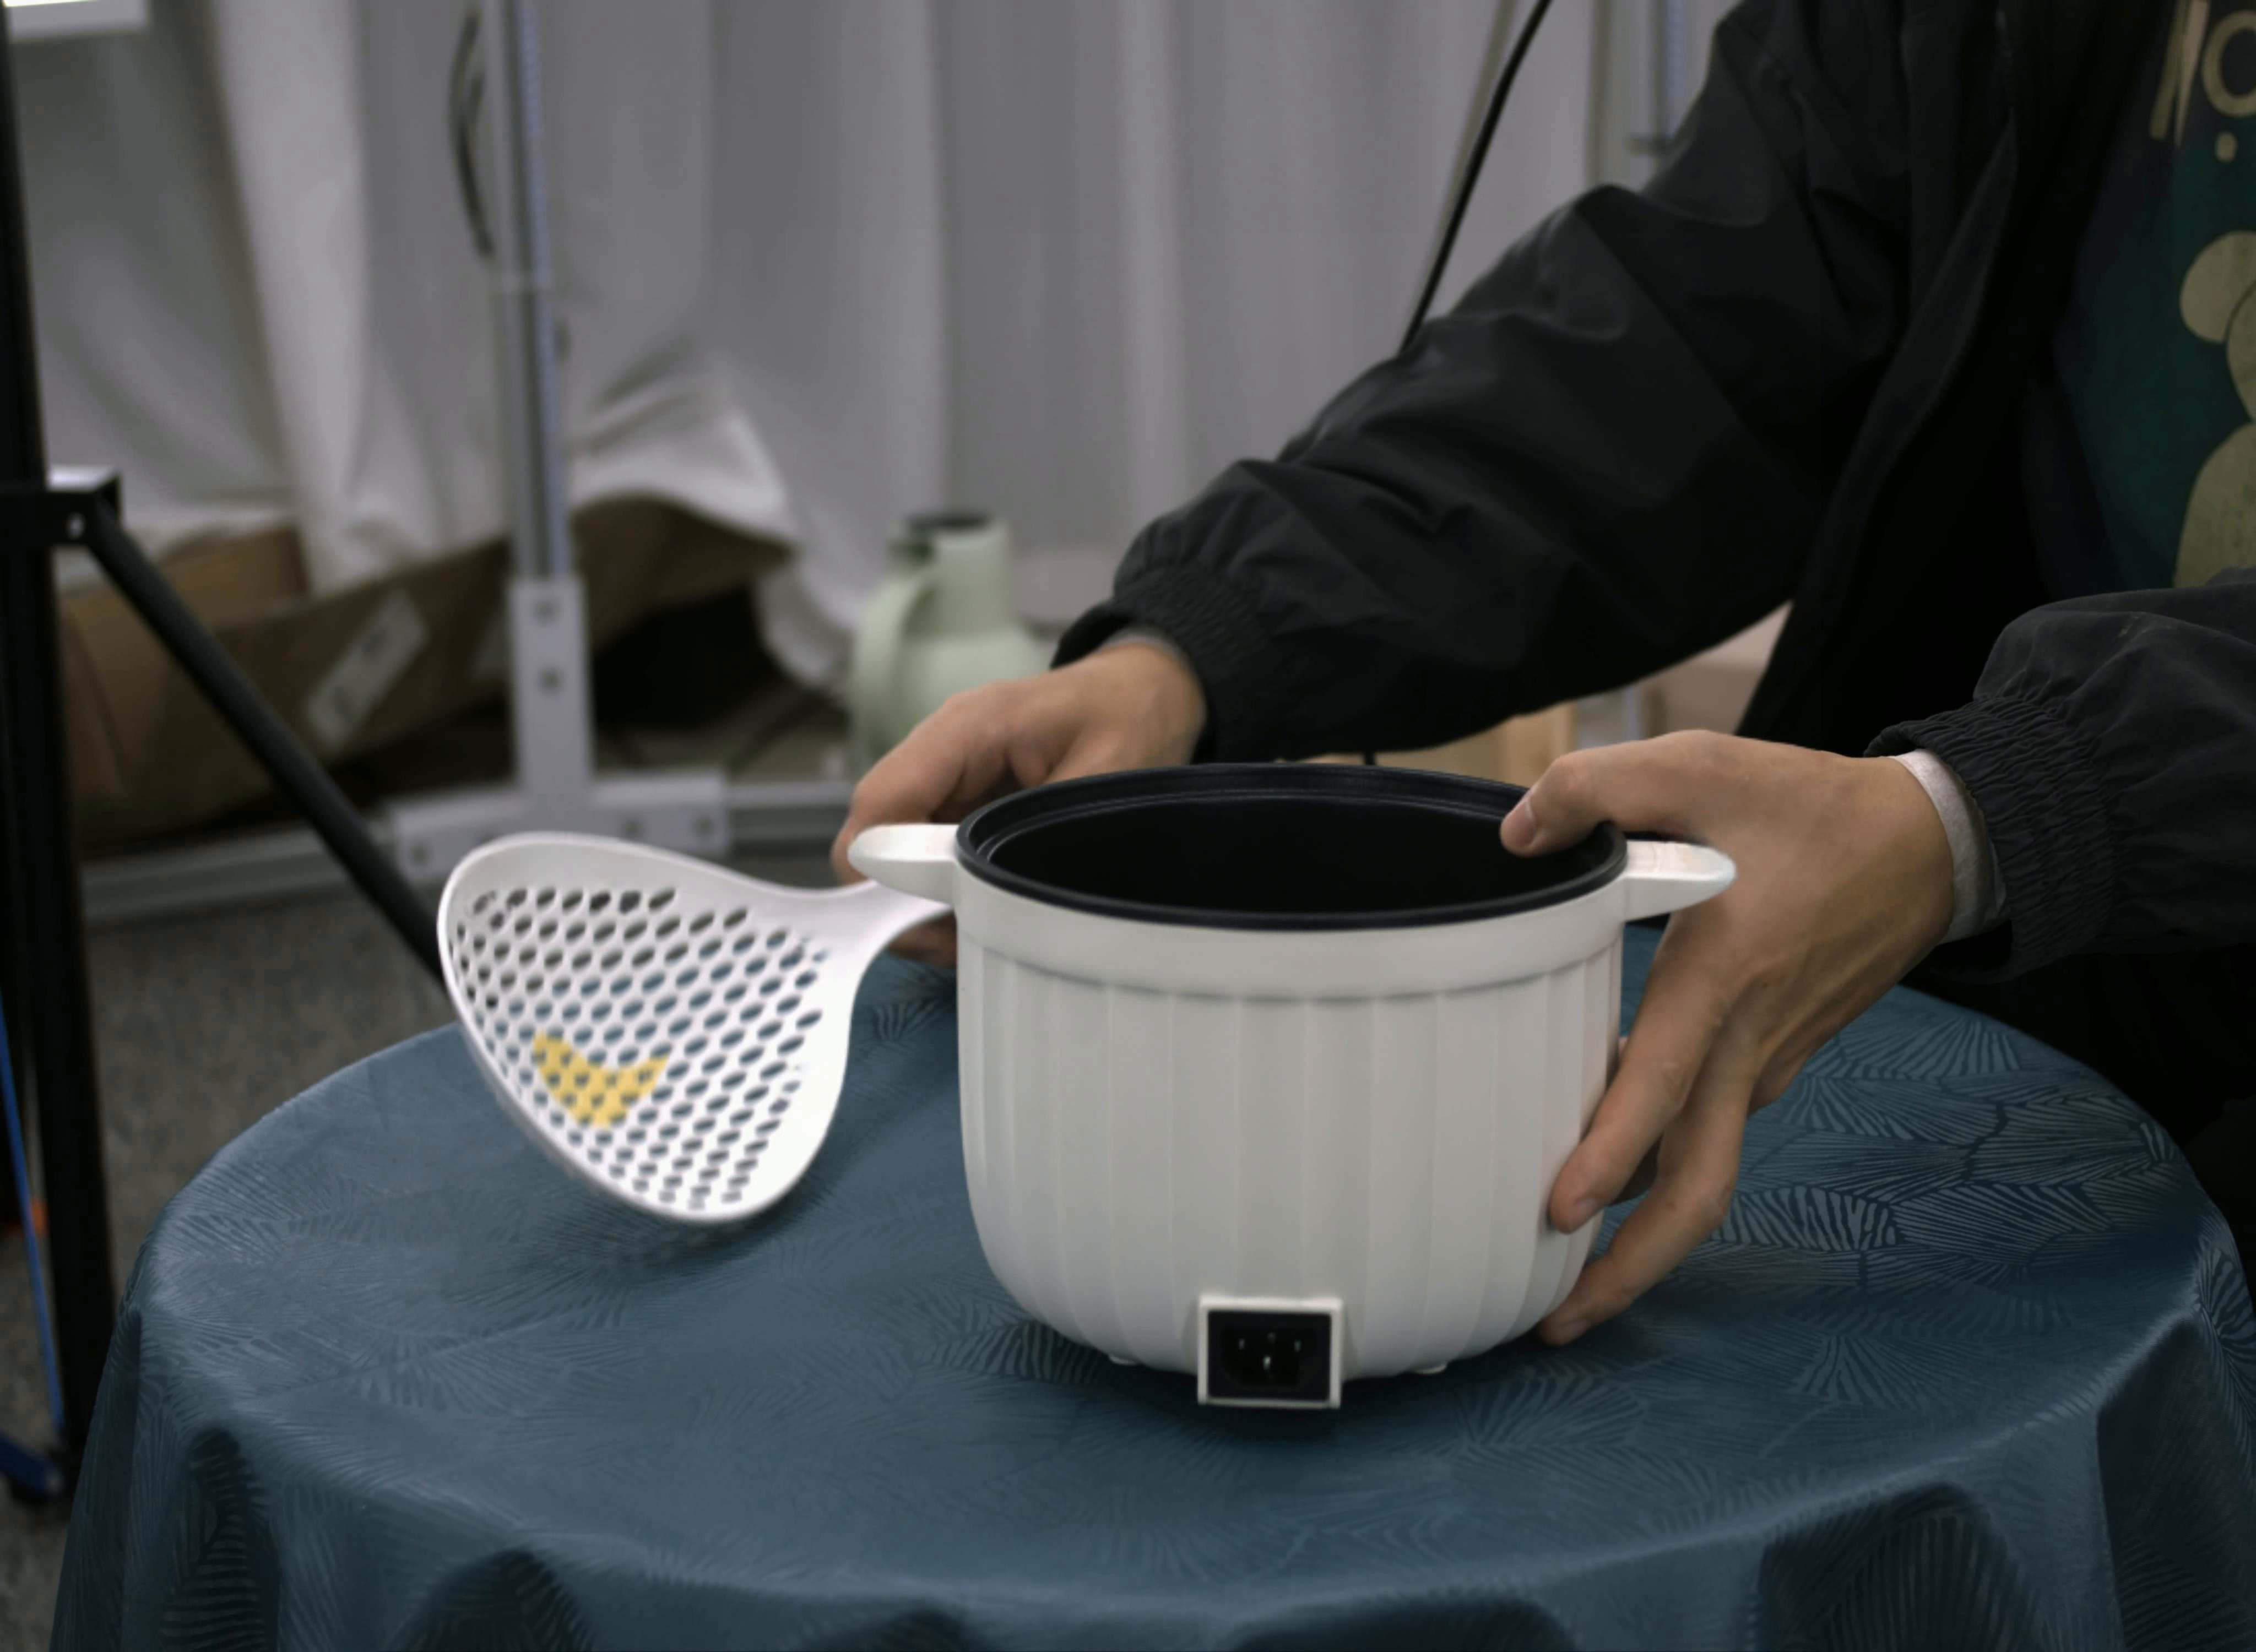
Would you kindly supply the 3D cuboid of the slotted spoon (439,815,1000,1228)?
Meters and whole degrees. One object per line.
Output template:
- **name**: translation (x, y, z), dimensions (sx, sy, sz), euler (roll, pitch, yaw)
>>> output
- **slotted spoon**: translation (-0.102, 0.041, 1.651), dimensions (0.051, 0.138, 0.342), euler (-46, -10, 33)

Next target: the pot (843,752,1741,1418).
- **pot**: translation (0.042, 0.066, 1.437), dimensions (0.240, 0.142, 0.190), euler (2, 17, 5)
